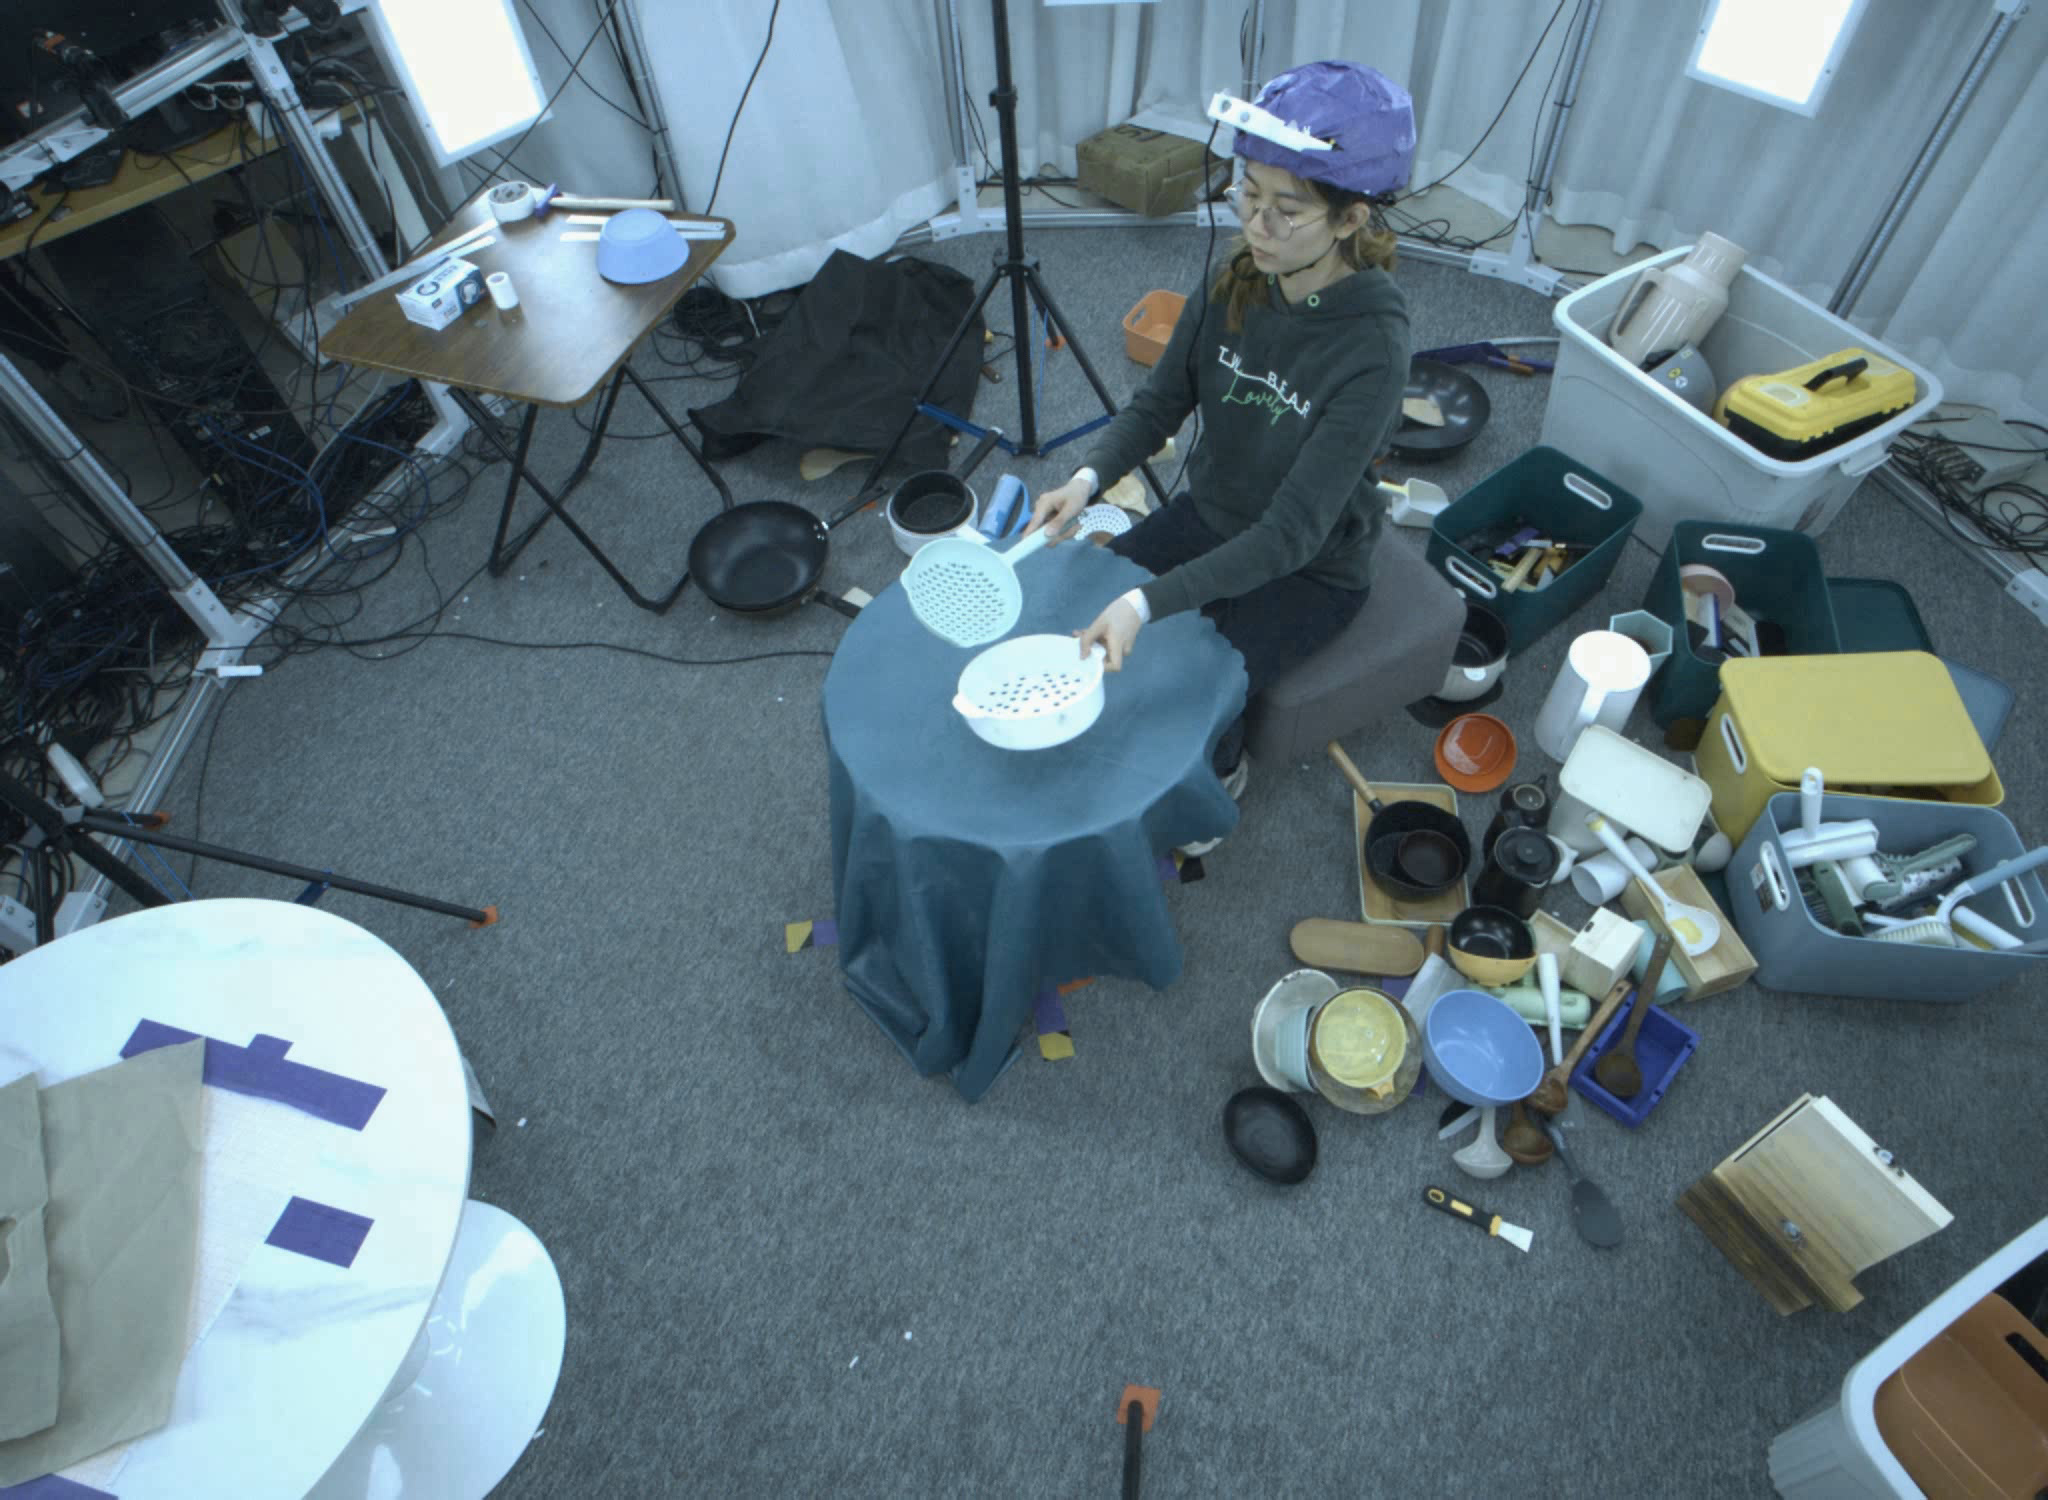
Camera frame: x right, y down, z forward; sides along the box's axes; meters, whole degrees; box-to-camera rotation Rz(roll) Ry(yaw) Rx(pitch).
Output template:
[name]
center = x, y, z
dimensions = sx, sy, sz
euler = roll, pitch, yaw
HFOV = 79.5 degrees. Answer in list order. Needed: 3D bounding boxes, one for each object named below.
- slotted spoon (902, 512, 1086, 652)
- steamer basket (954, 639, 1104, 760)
[slotted spoon]
center = -0.024, -0.268, 1.780
dimensions = 0.361, 0.075, 0.169
euler = -41, 90, -25
[steamer basket]
center = 0.011, -0.070, 1.716
dimensions = 0.233, 0.070, 0.197
euler = -30, 46, -22
